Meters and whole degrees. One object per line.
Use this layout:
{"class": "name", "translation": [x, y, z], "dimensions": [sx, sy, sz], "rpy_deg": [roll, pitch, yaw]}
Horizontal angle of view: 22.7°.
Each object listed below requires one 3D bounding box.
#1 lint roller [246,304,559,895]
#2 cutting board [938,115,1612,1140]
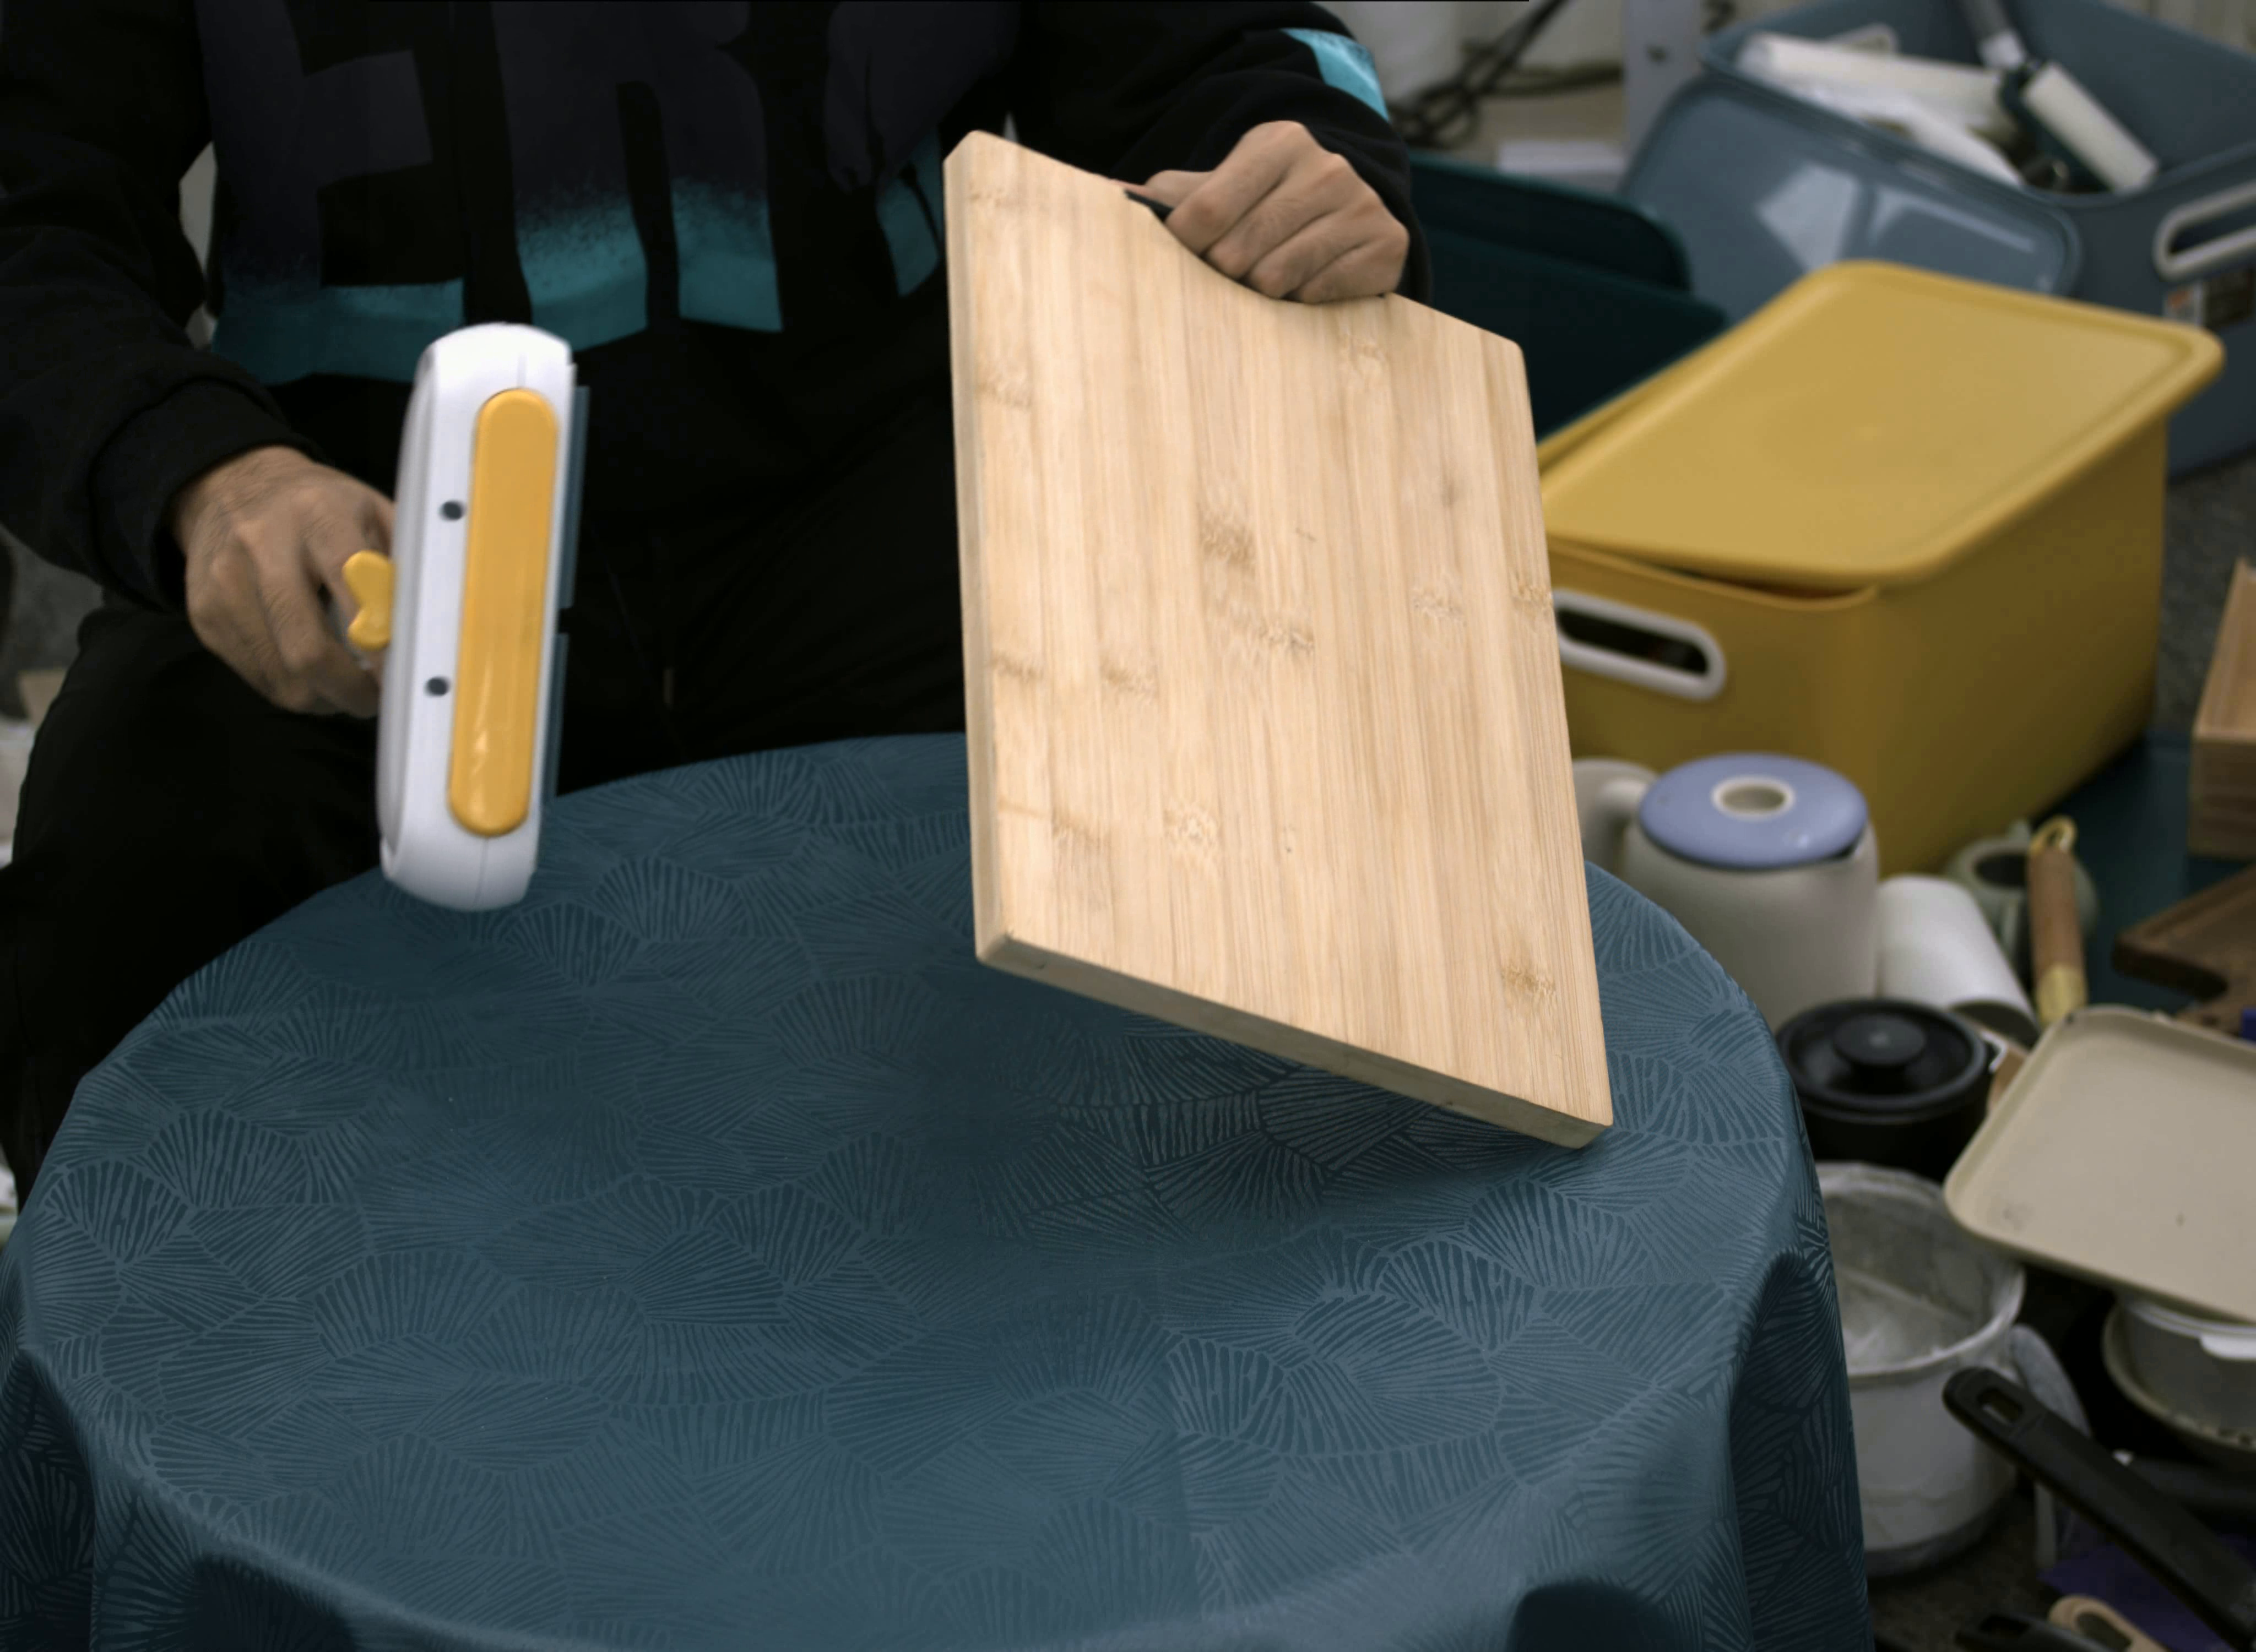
{"class": "lint roller", "translation": [-0.246, -0.069, 1.895], "dimensions": [0.074, 0.194, 0.190], "rpy_deg": [1, -6, -23]}
{"class": "cutting board", "translation": [0.046, -0.070, 1.918], "dimensions": [0.250, 0.023, 0.355], "rpy_deg": [18, 48, -28]}
